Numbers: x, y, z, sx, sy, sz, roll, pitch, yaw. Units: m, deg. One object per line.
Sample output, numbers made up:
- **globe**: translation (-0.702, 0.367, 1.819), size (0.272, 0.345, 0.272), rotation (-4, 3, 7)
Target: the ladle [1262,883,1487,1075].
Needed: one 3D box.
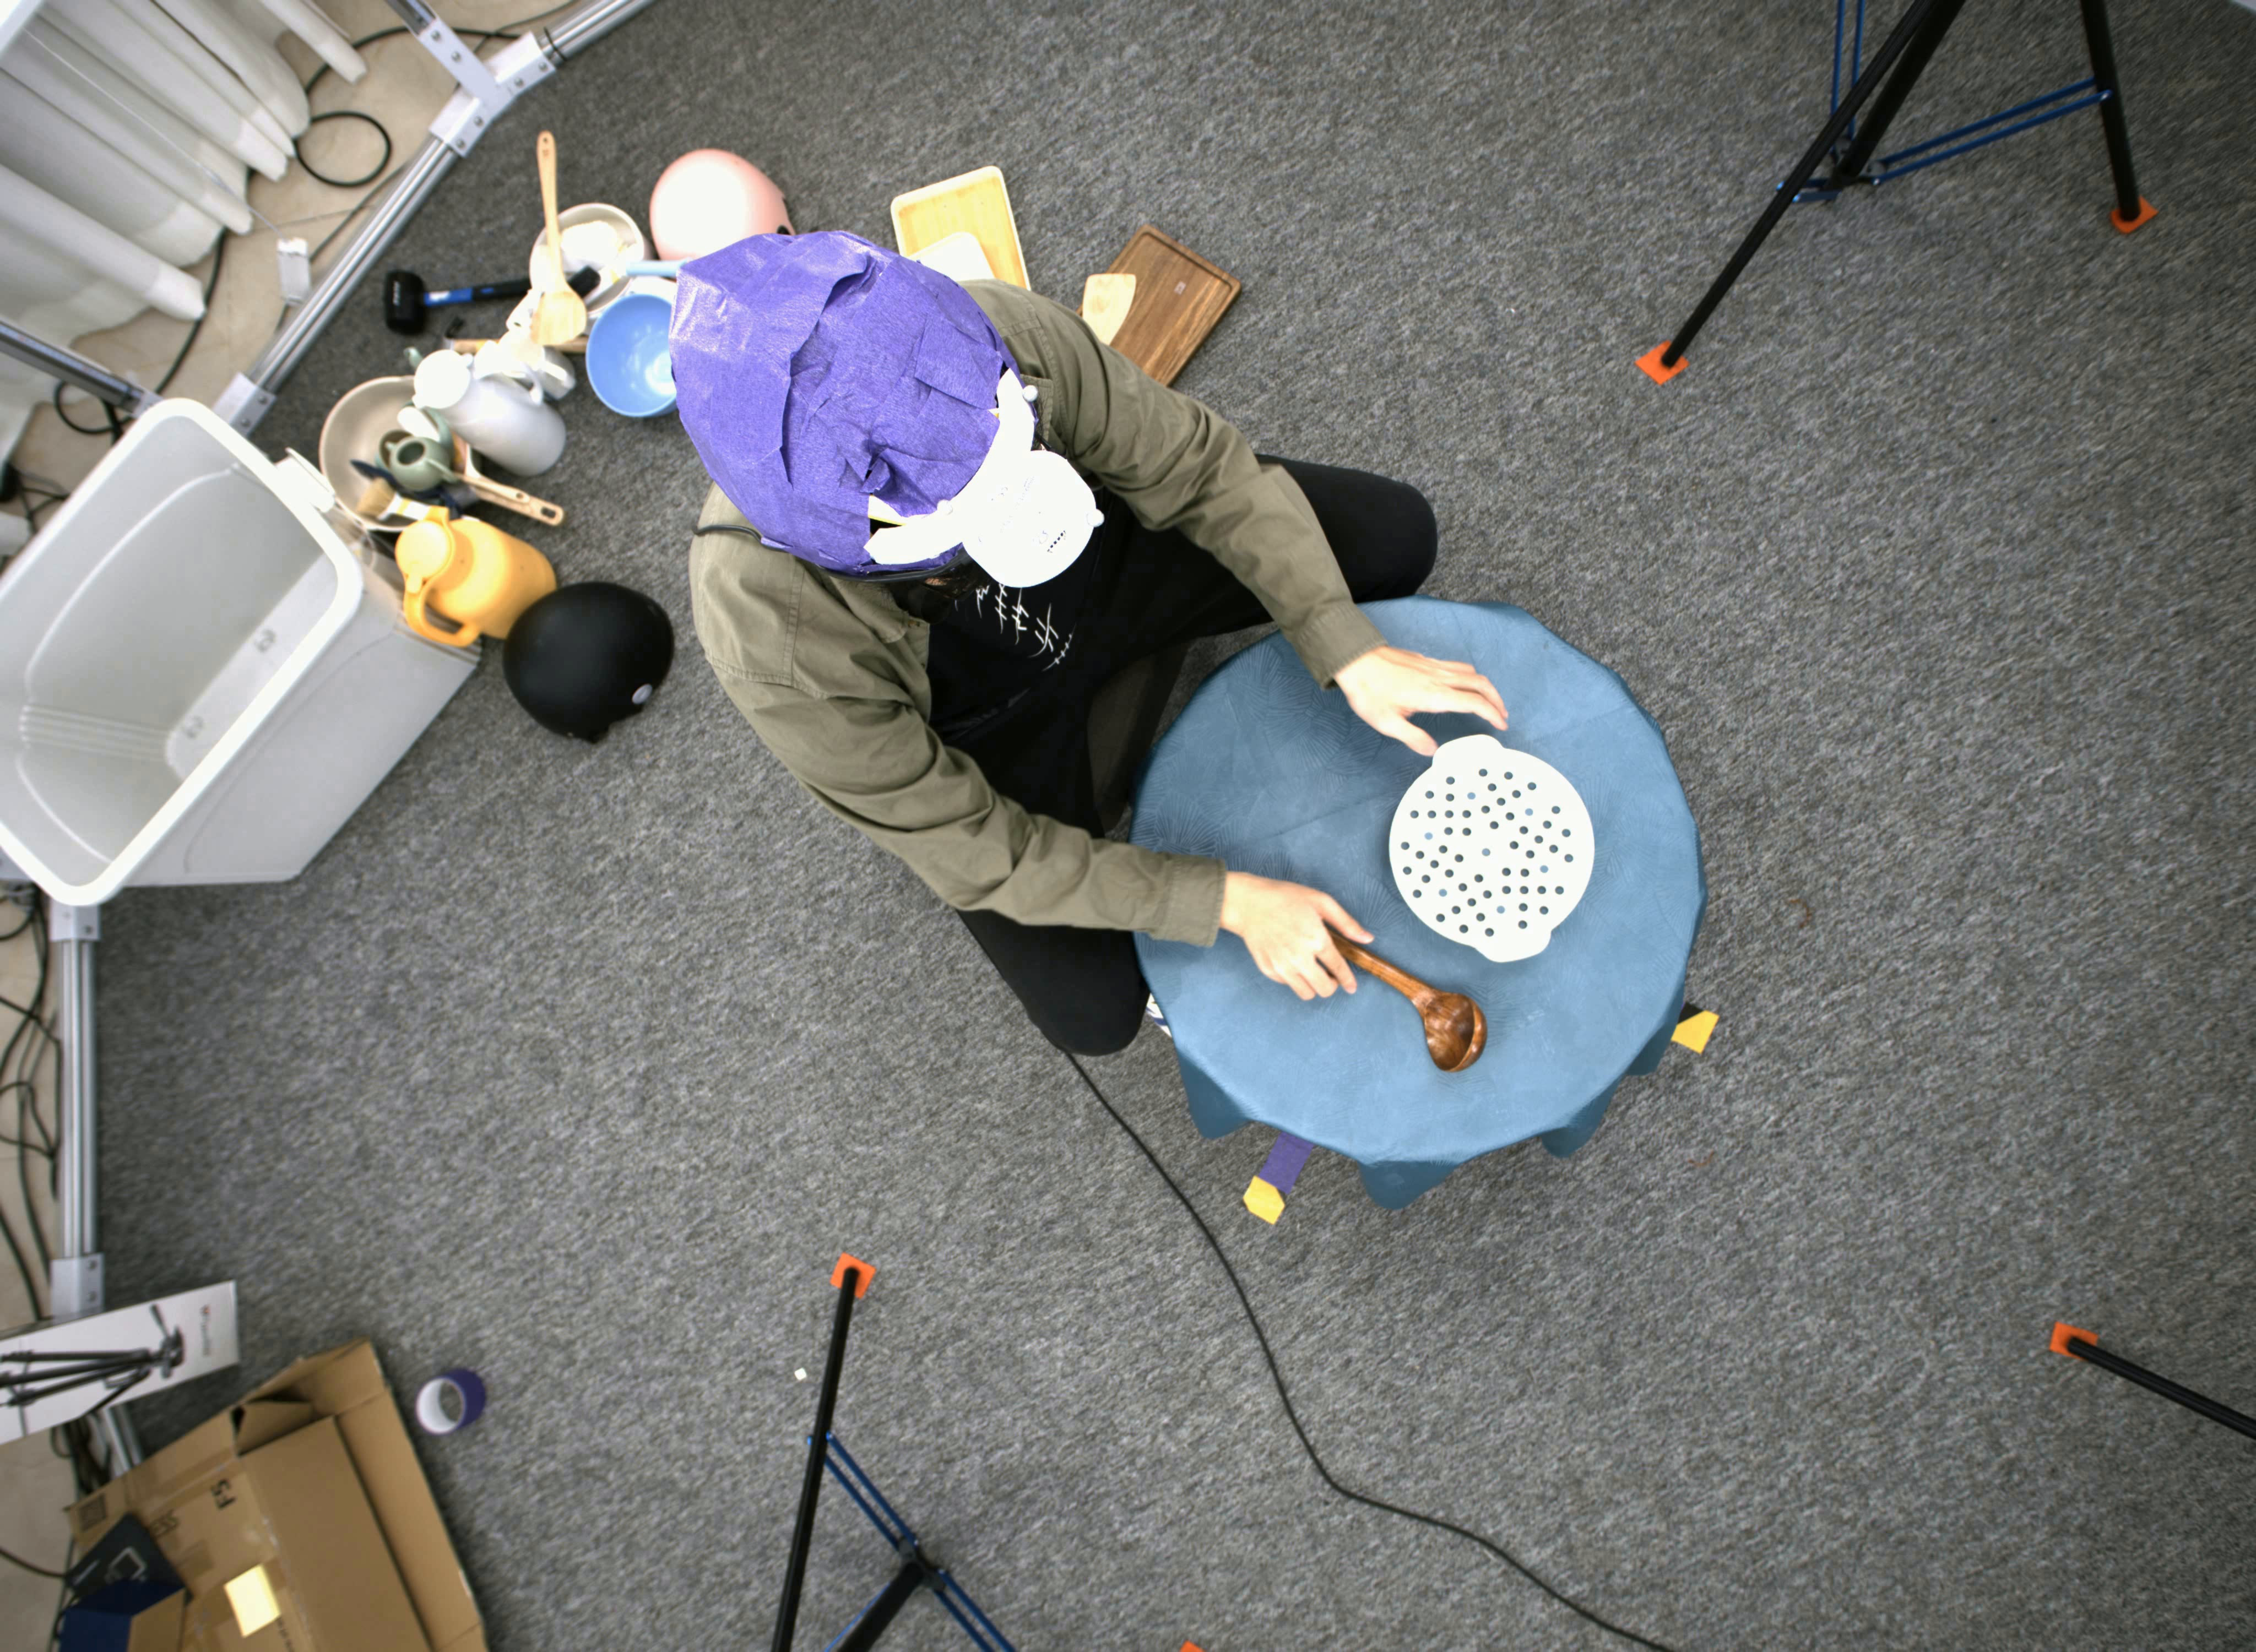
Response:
- **ladle**: translation (0.244, 0.153, 1.415), size (0.273, 0.075, 0.084), rotation (33, 118, 10)

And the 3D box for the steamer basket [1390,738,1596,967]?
- **steamer basket**: translation (0.368, 0.027, 1.399), size (0.203, 0.069, 0.229), rotation (-13, 84, 9)
